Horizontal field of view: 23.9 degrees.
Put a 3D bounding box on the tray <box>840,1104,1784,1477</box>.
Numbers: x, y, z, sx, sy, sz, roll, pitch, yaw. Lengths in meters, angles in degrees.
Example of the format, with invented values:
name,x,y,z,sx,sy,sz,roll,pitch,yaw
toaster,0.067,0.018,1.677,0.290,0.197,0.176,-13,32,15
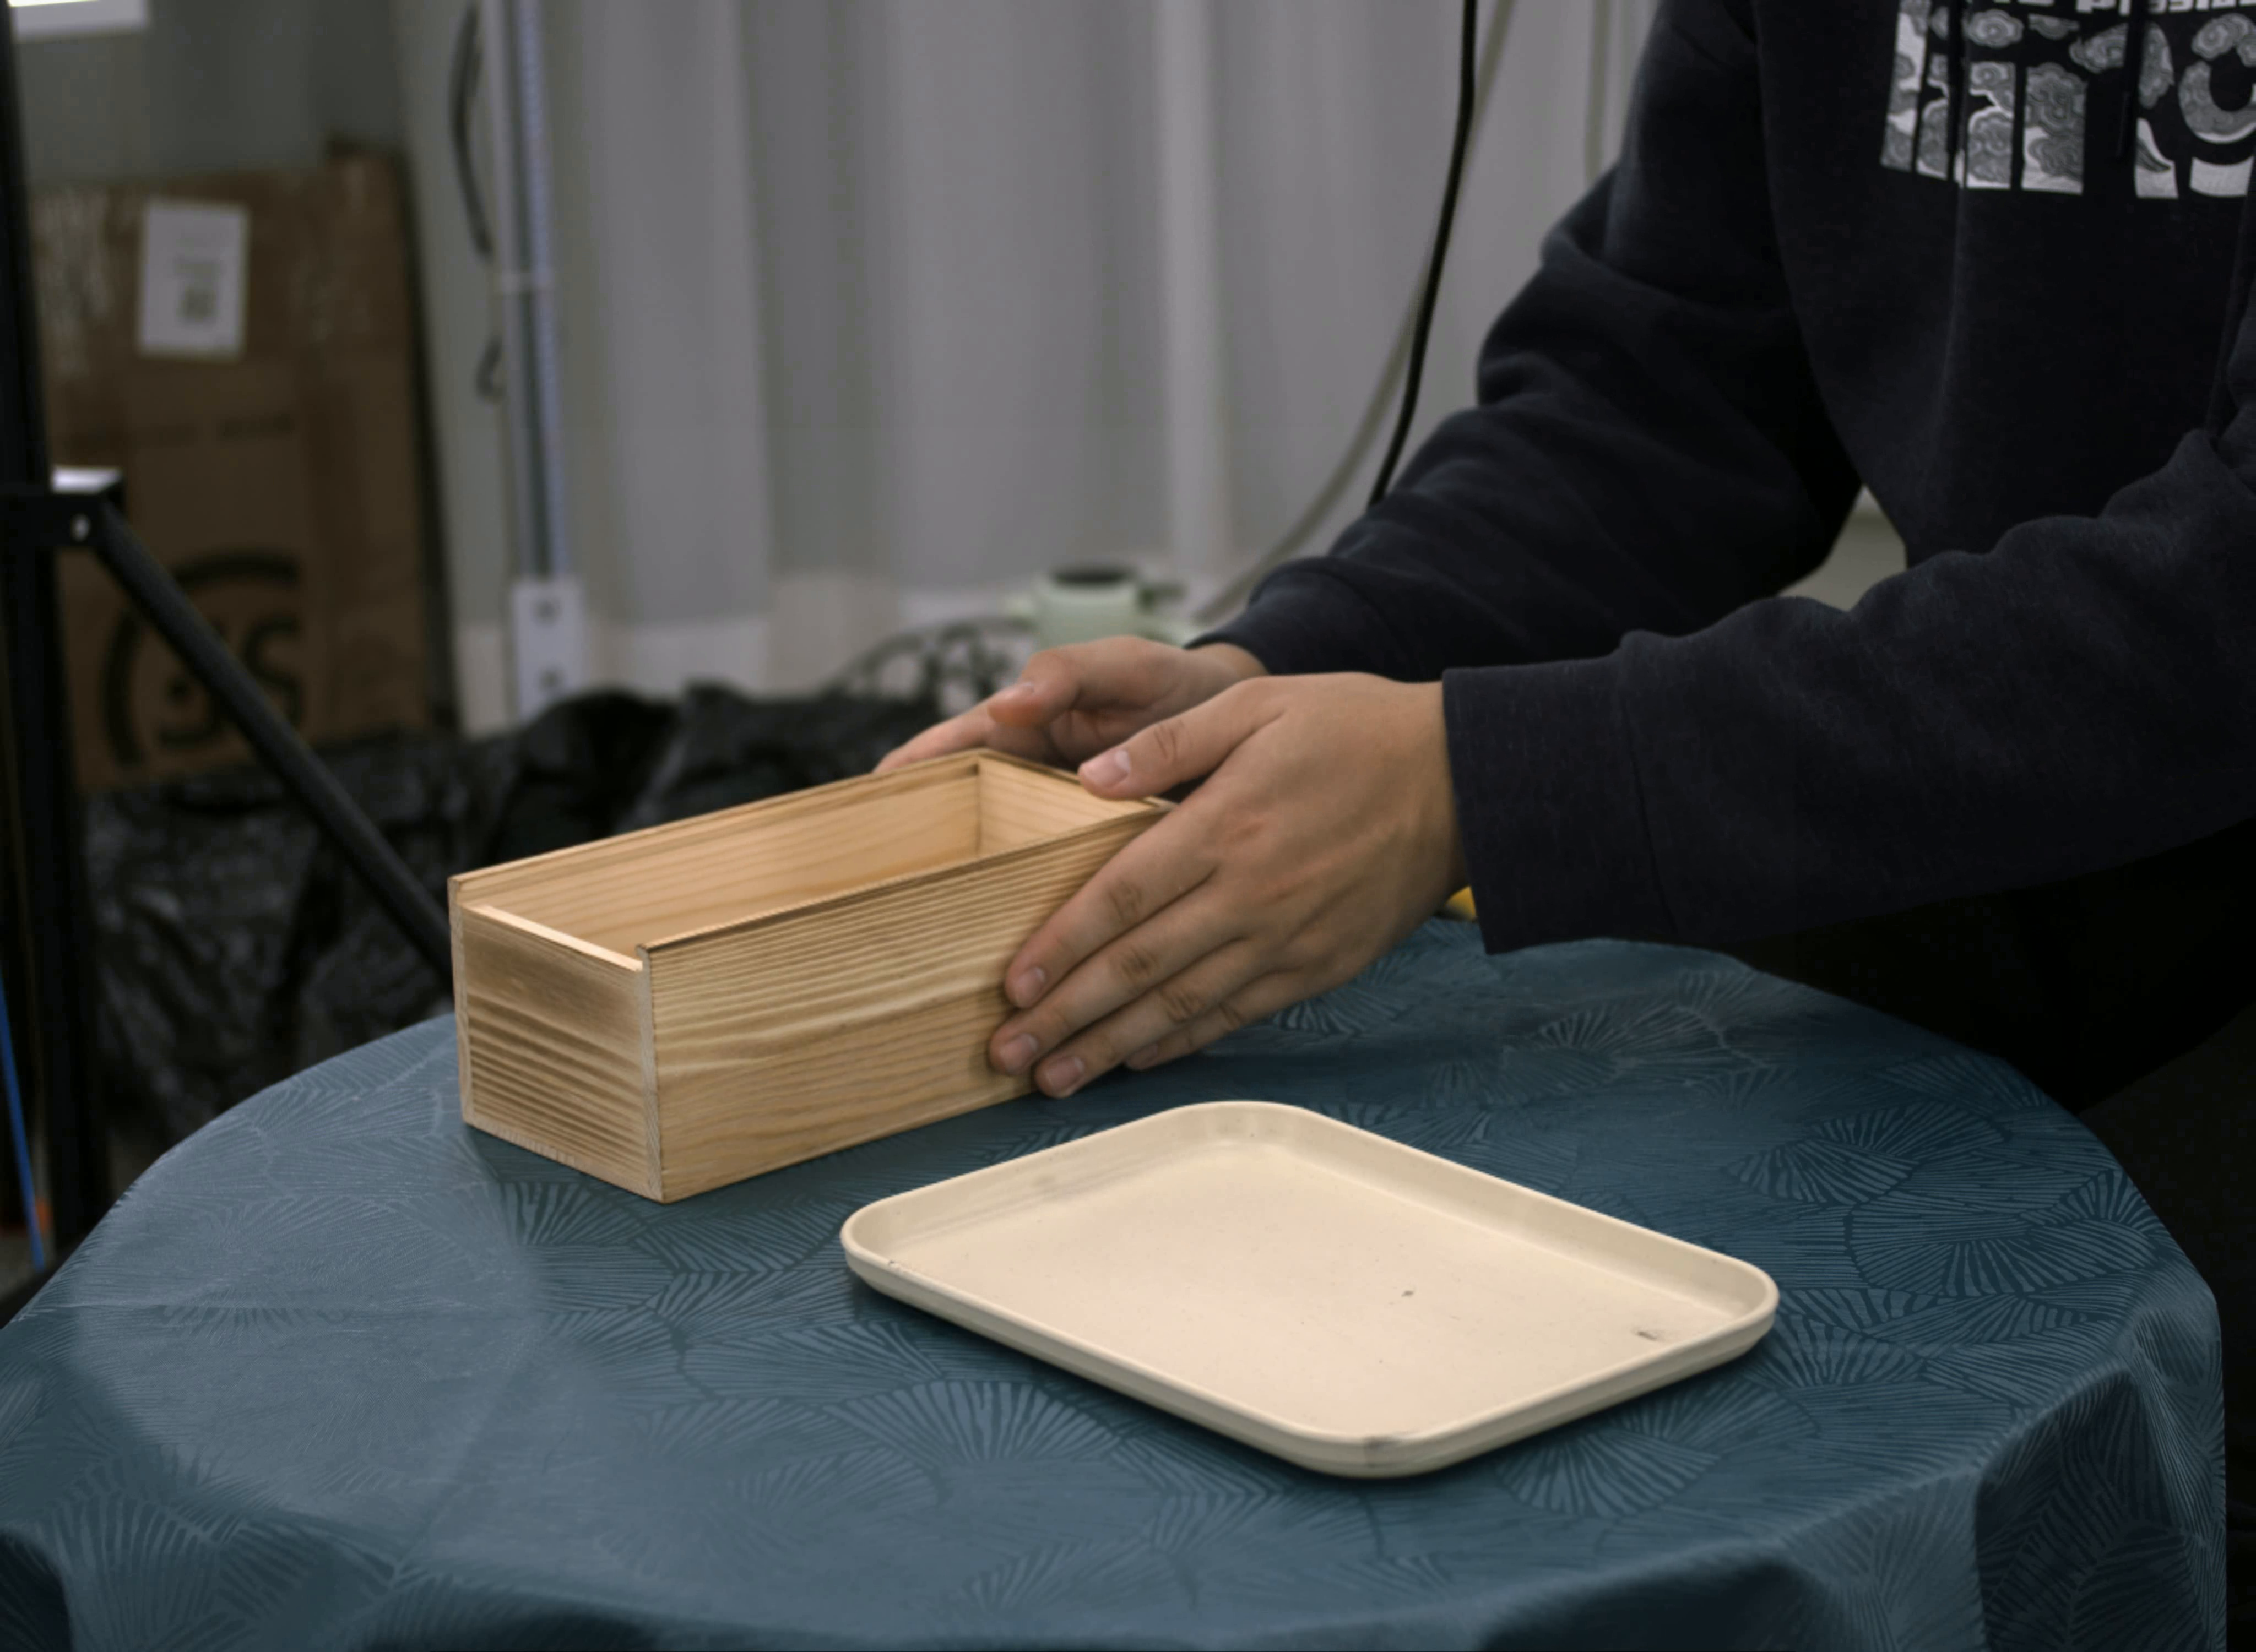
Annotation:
name,x,y,z,sx,sy,sz,roll,pitch,yaw
tray,0.048,0.126,1.456,0.167,0.017,0.245,-14,19,-37

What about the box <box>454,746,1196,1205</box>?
name,x,y,z,sx,sy,sz,roll,pitch,yaw
box,-0.091,0.043,1.655,0.206,0.080,0.110,-15,20,-37
